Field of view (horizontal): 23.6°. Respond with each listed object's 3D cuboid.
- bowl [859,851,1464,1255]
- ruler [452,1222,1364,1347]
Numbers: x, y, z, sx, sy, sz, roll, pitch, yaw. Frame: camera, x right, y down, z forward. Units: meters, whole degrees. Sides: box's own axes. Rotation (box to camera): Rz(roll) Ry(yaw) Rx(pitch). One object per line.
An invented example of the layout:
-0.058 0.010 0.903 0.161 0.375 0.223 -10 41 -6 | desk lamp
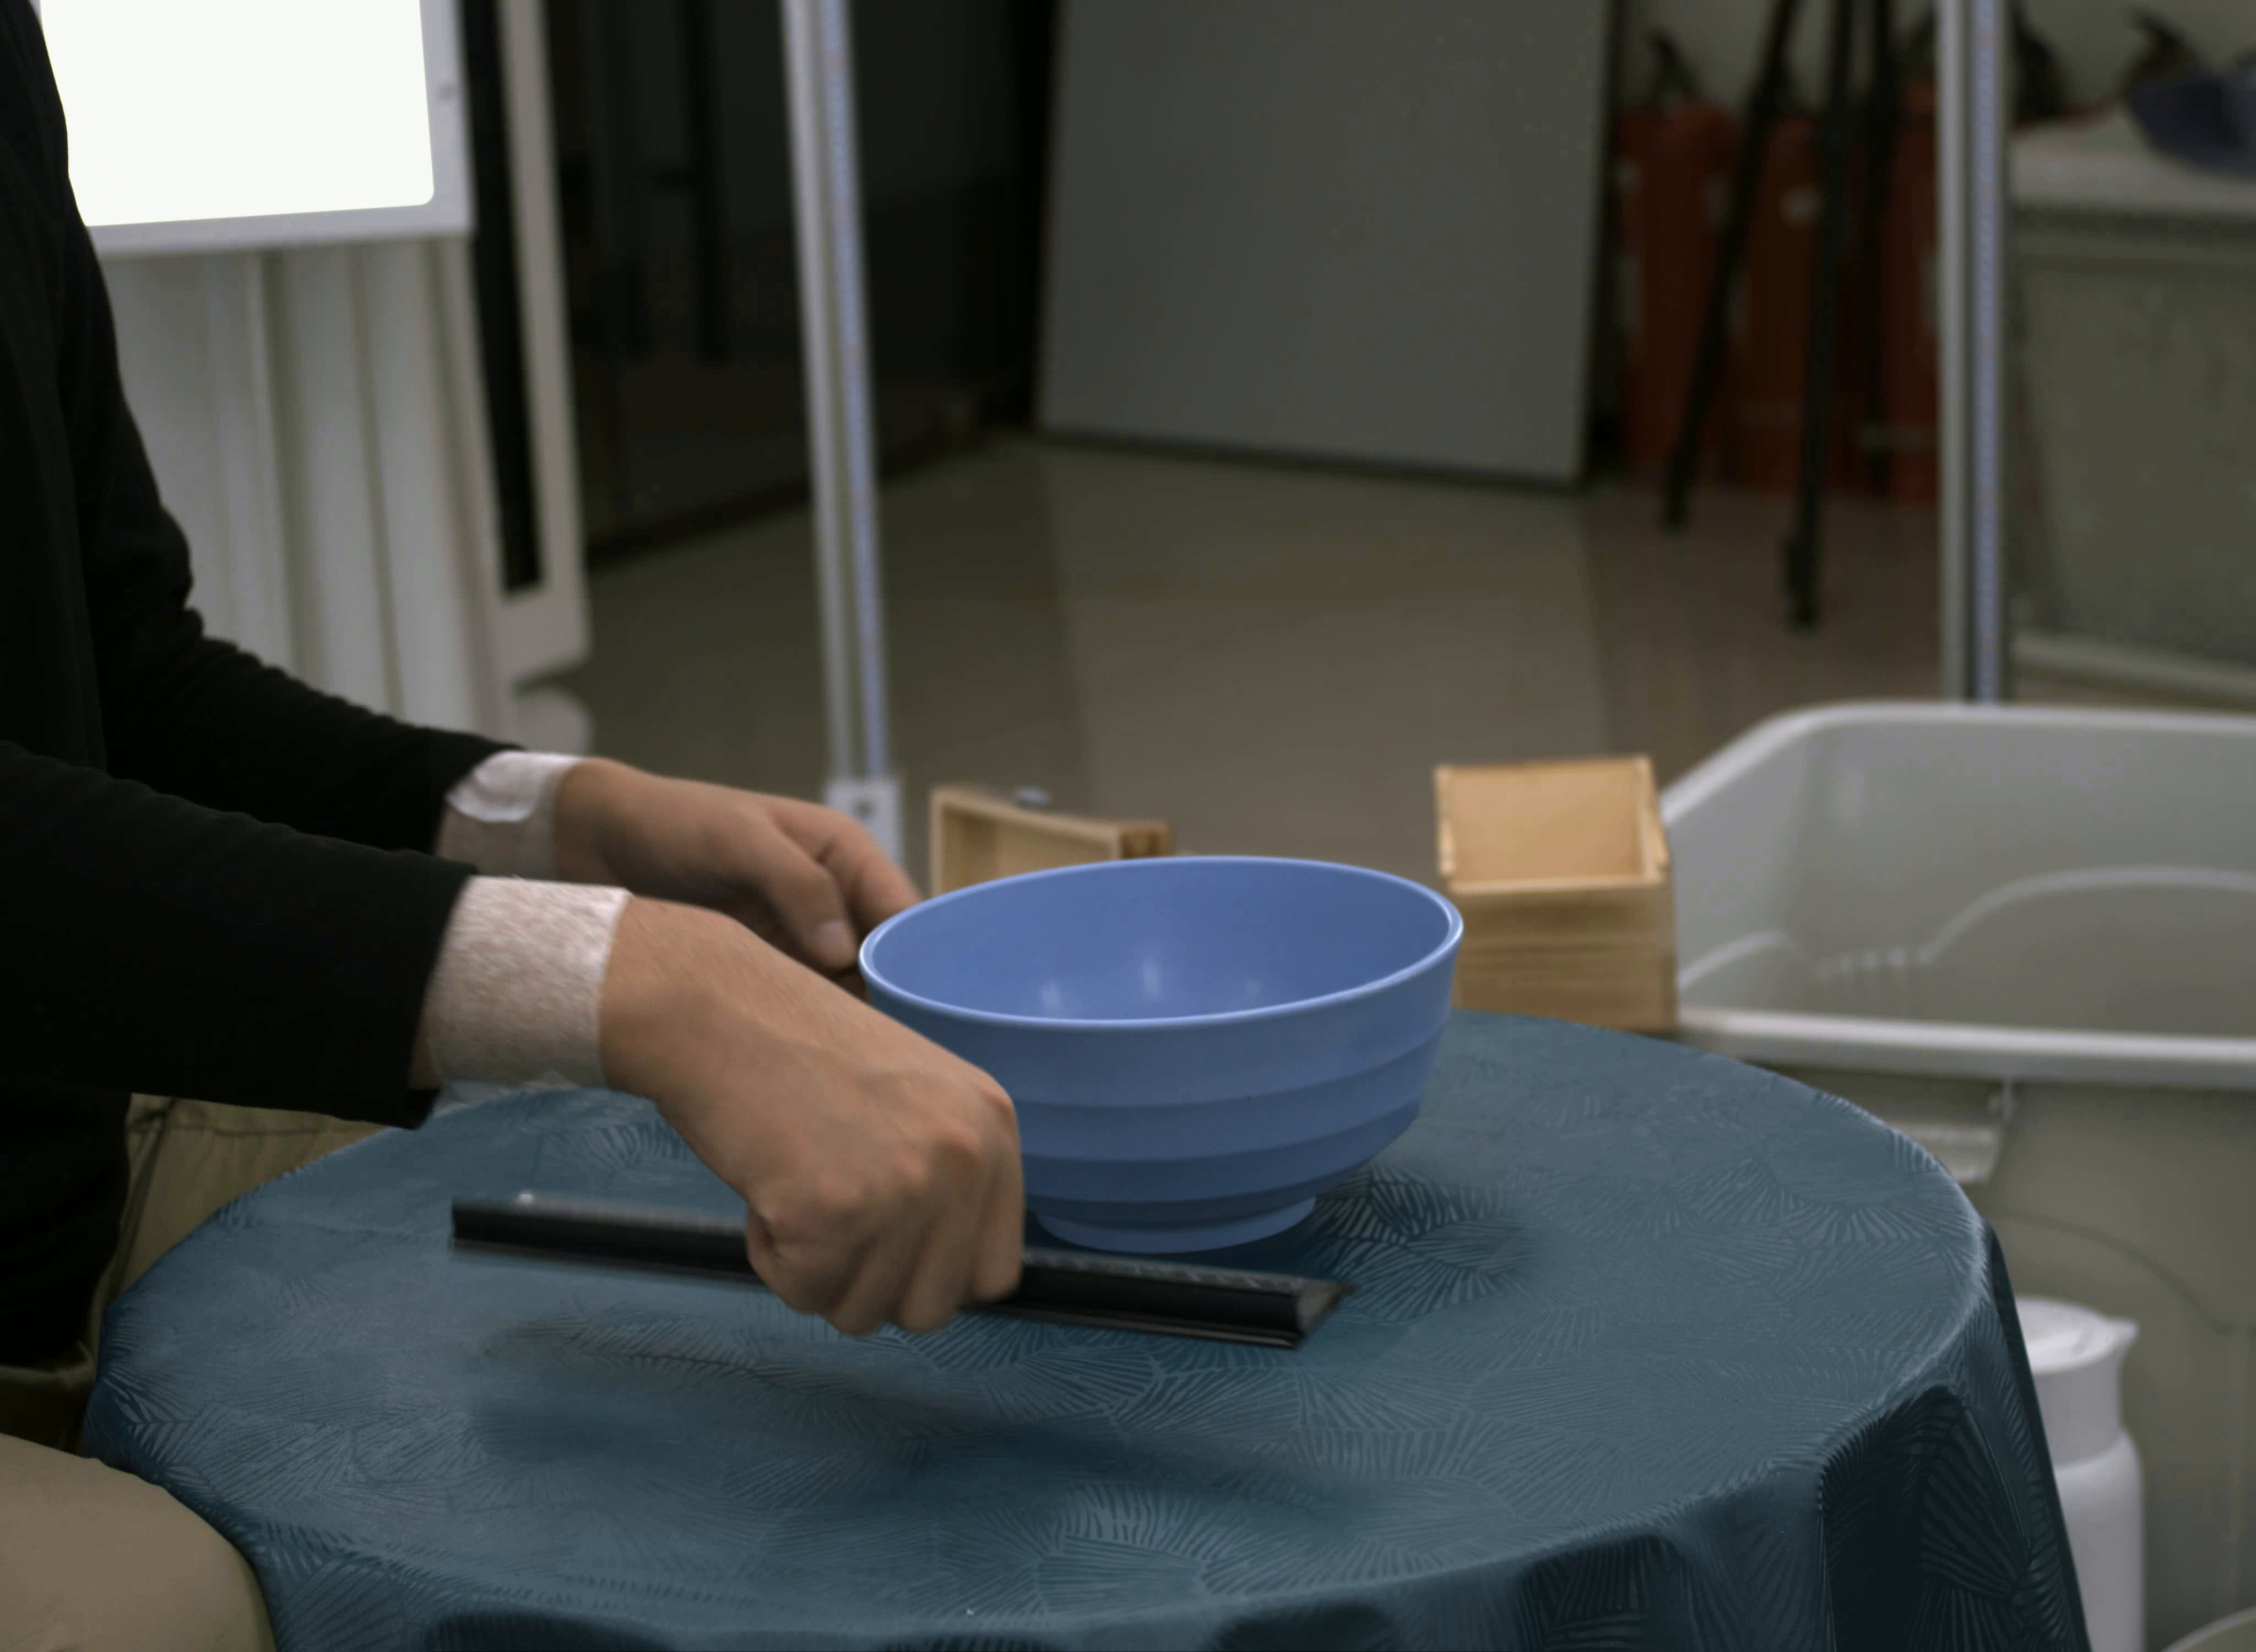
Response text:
0.013 0.079 1.737 0.194 0.096 0.197 -3 14 0 | bowl
-0.071 0.128 1.591 0.314 0.017 0.039 1 20 34 | ruler
